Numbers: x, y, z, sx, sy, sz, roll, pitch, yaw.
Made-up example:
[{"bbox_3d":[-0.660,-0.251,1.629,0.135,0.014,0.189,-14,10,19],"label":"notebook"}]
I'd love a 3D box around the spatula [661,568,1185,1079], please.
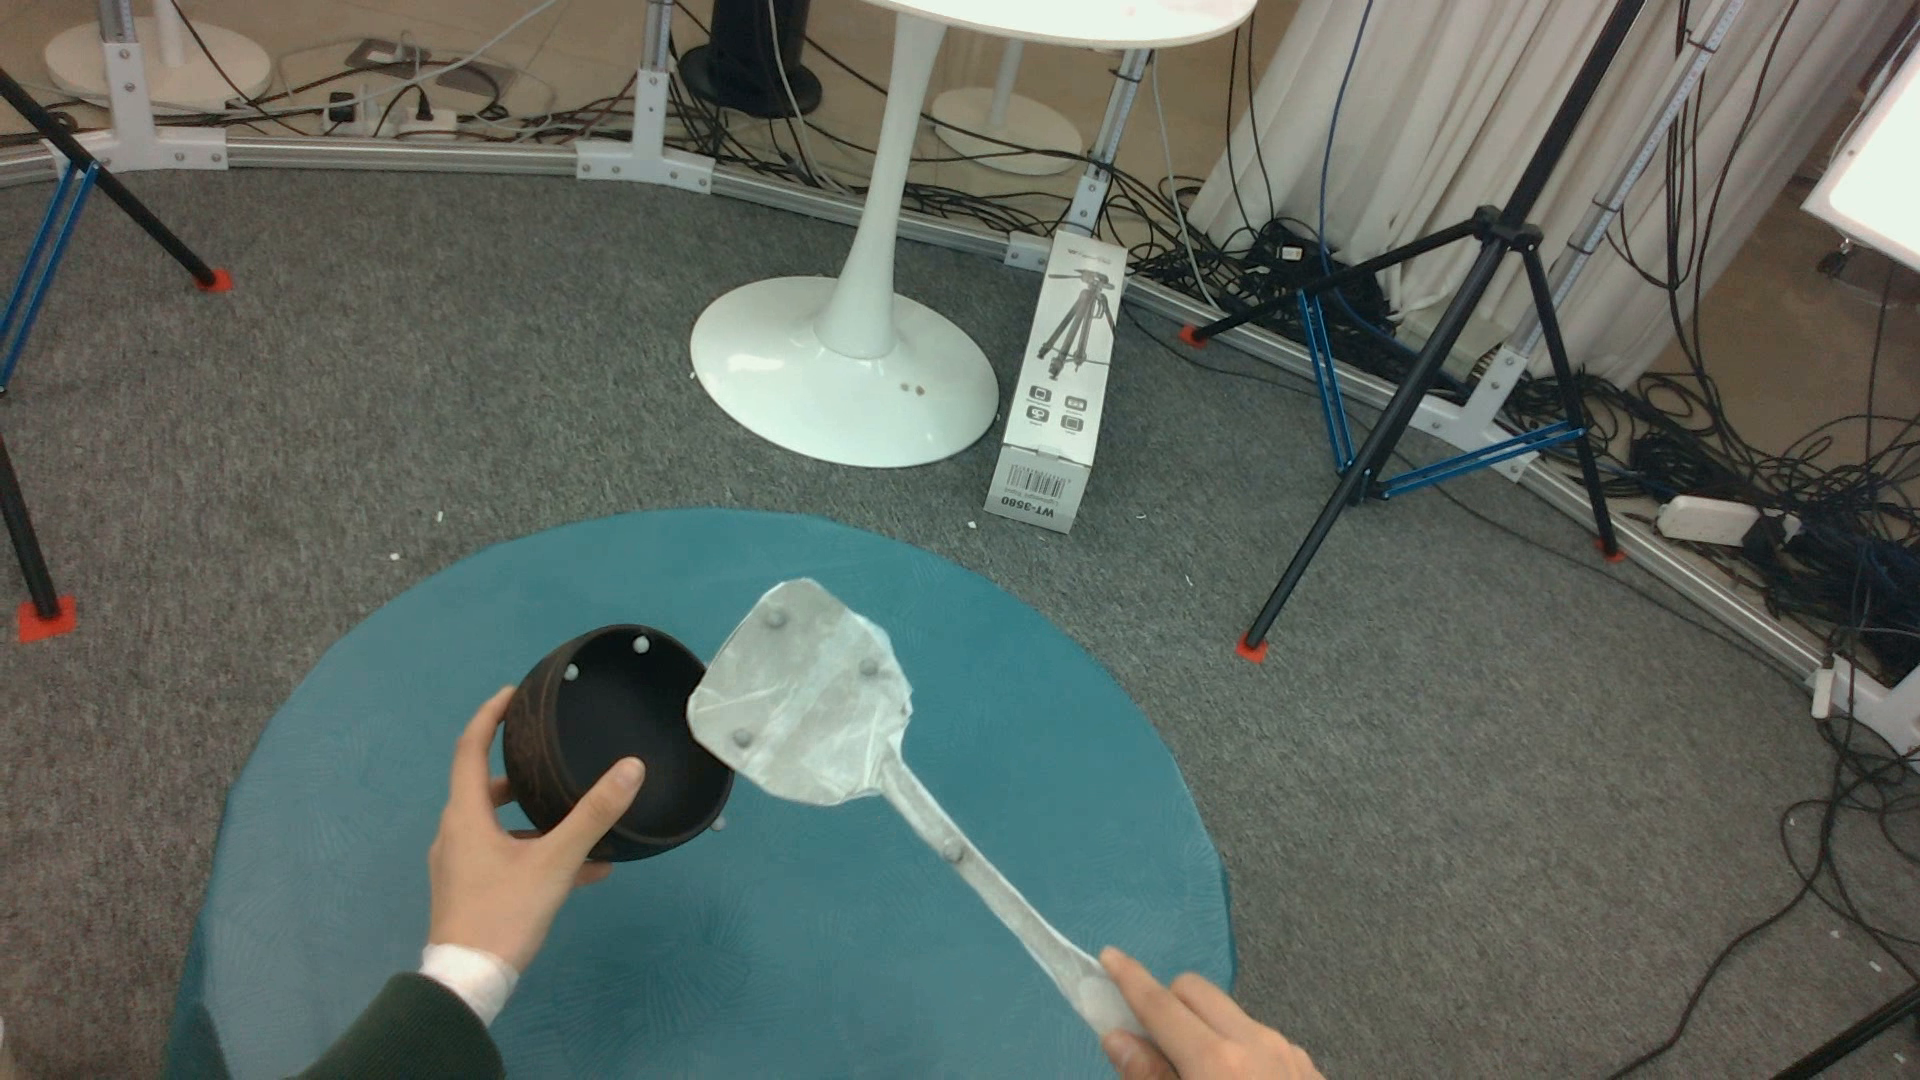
[{"bbox_3d":[0.001,0.147,0.587,0.365,0.098,0.045,40,2,33],"label":"spatula"}]

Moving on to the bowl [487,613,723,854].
[{"bbox_3d":[-0.186,0.102,0.697,0.118,0.069,0.118,31,46,-39],"label":"bowl"}]
